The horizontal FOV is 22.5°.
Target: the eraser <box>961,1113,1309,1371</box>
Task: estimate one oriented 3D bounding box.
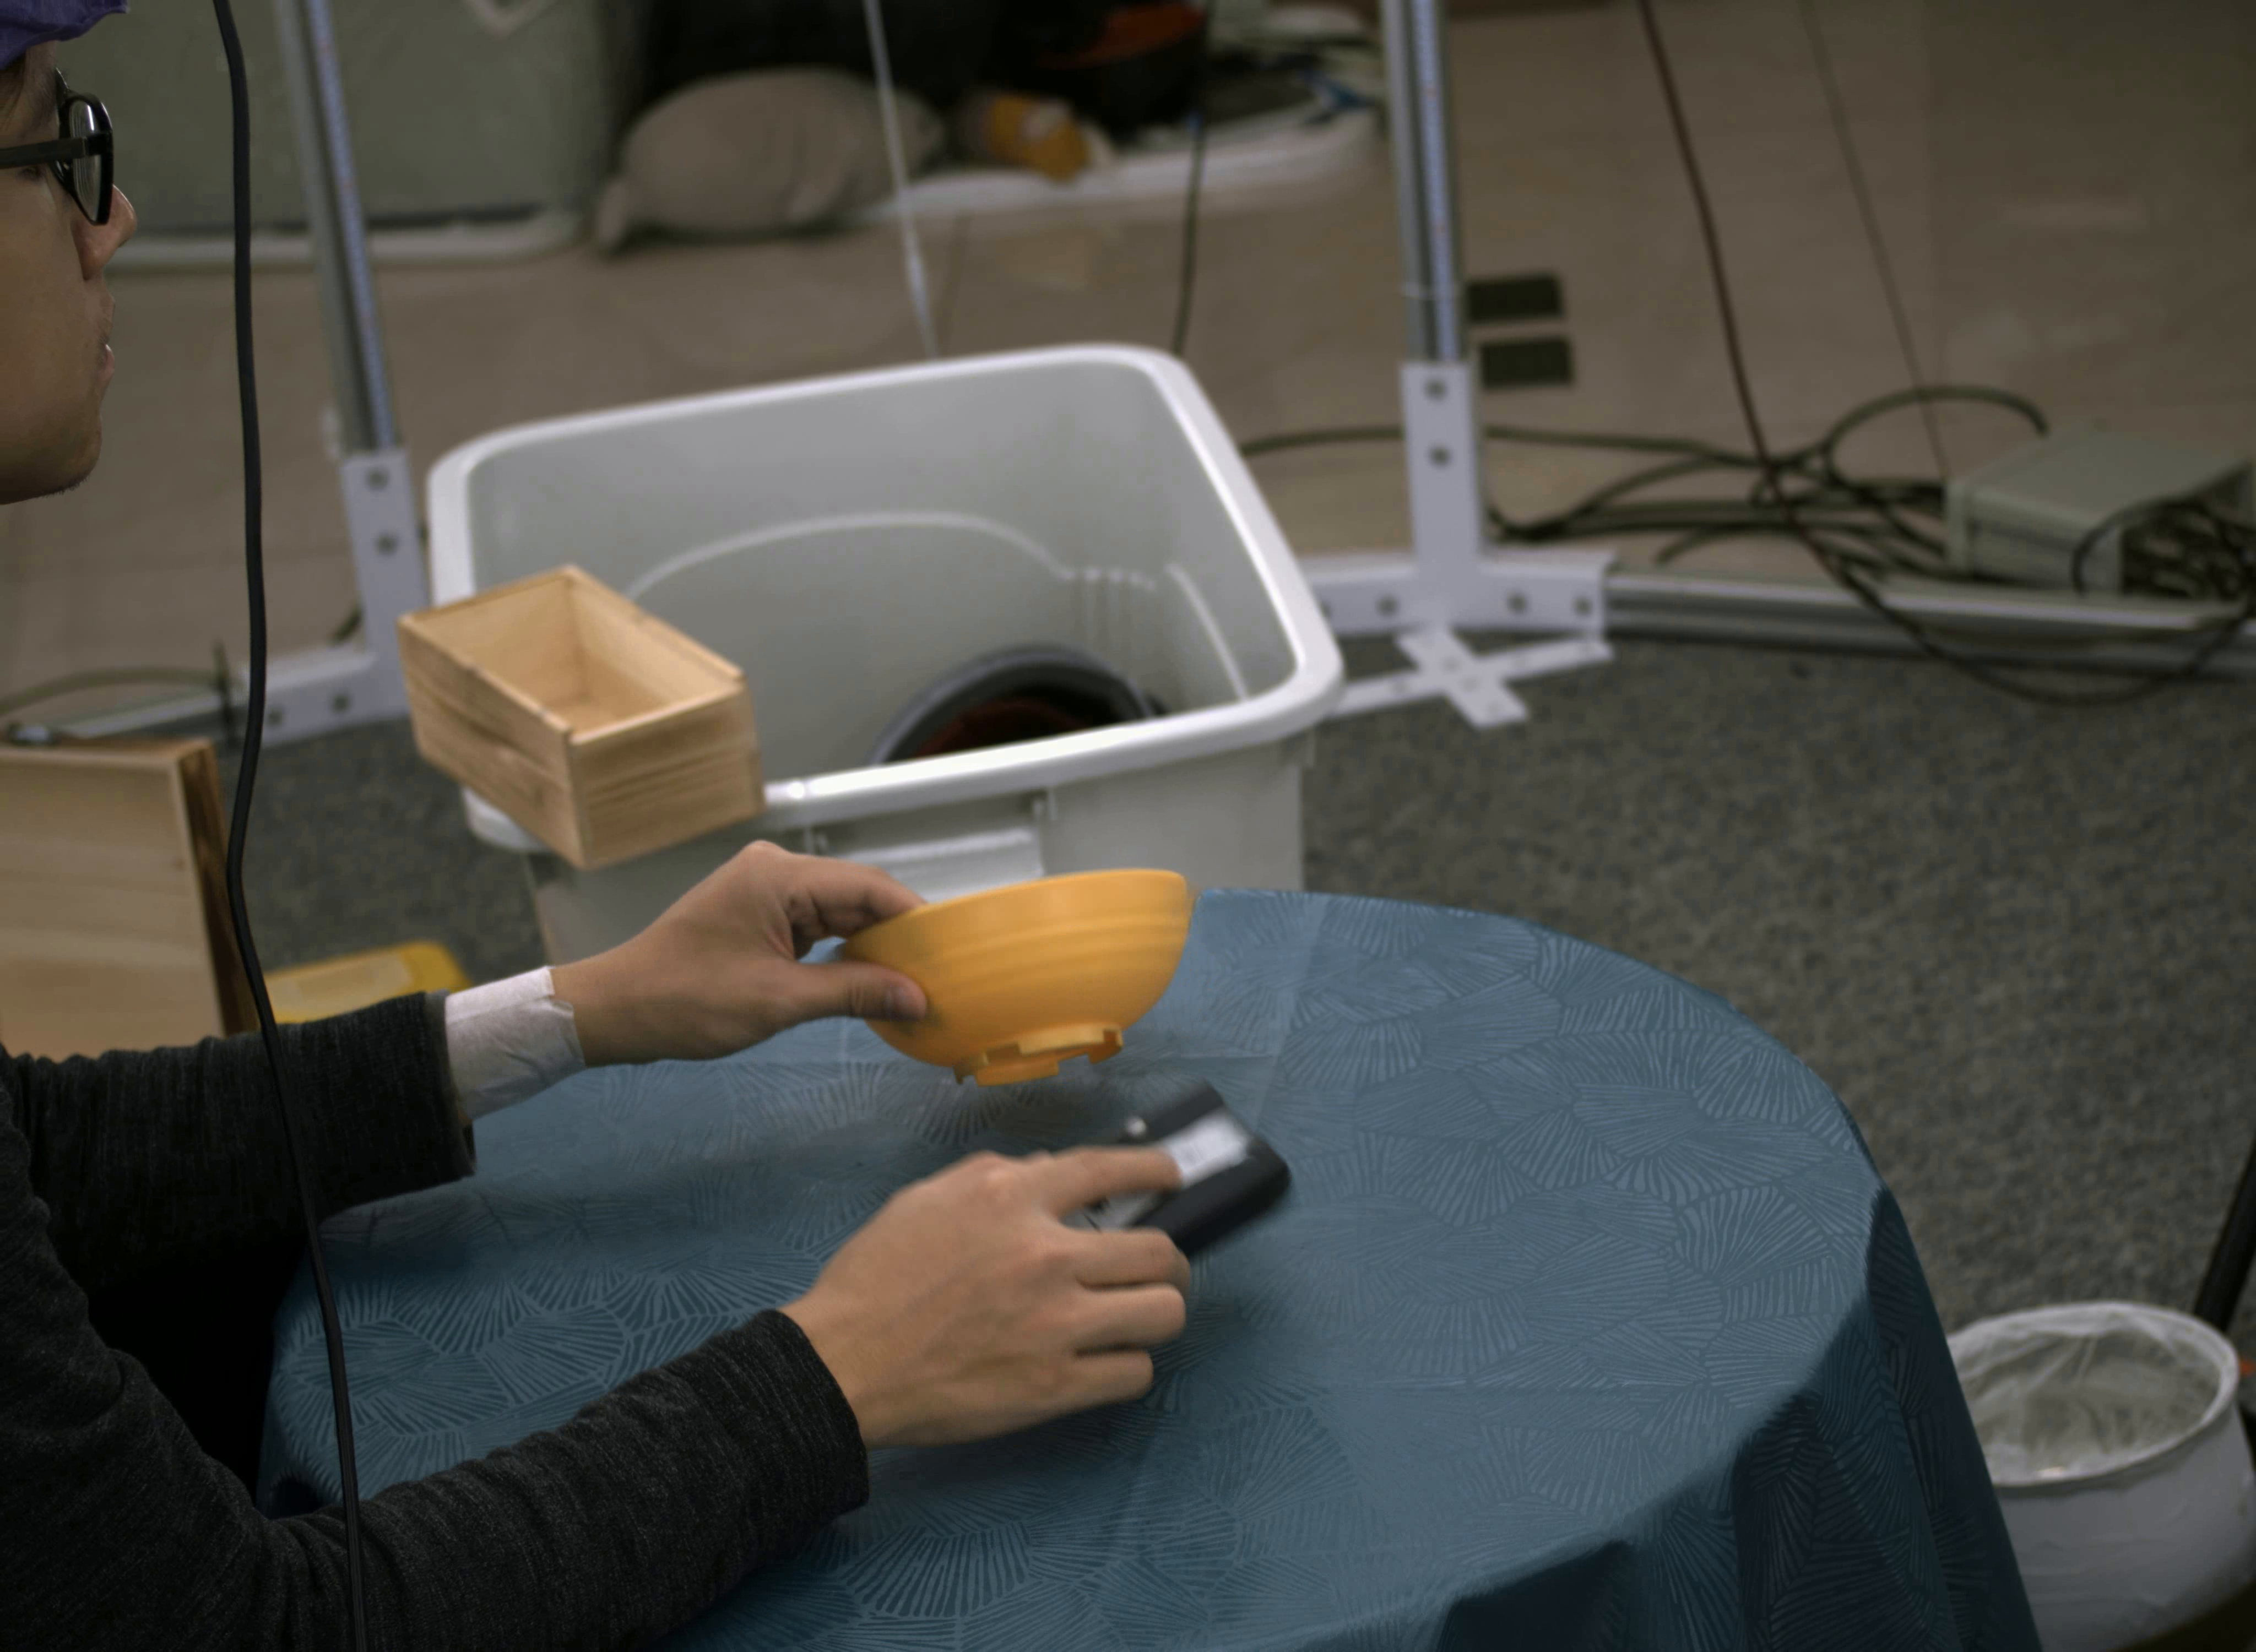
[{"bbox_3d":[0.002,0.147,2.021,0.124,0.031,0.053,-26,57,-36],"label":"eraser"}]

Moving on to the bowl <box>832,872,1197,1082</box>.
[{"bbox_3d":[-0.039,0.064,2.199,0.145,0.060,0.146,-10,-9,-1],"label":"bowl"}]
